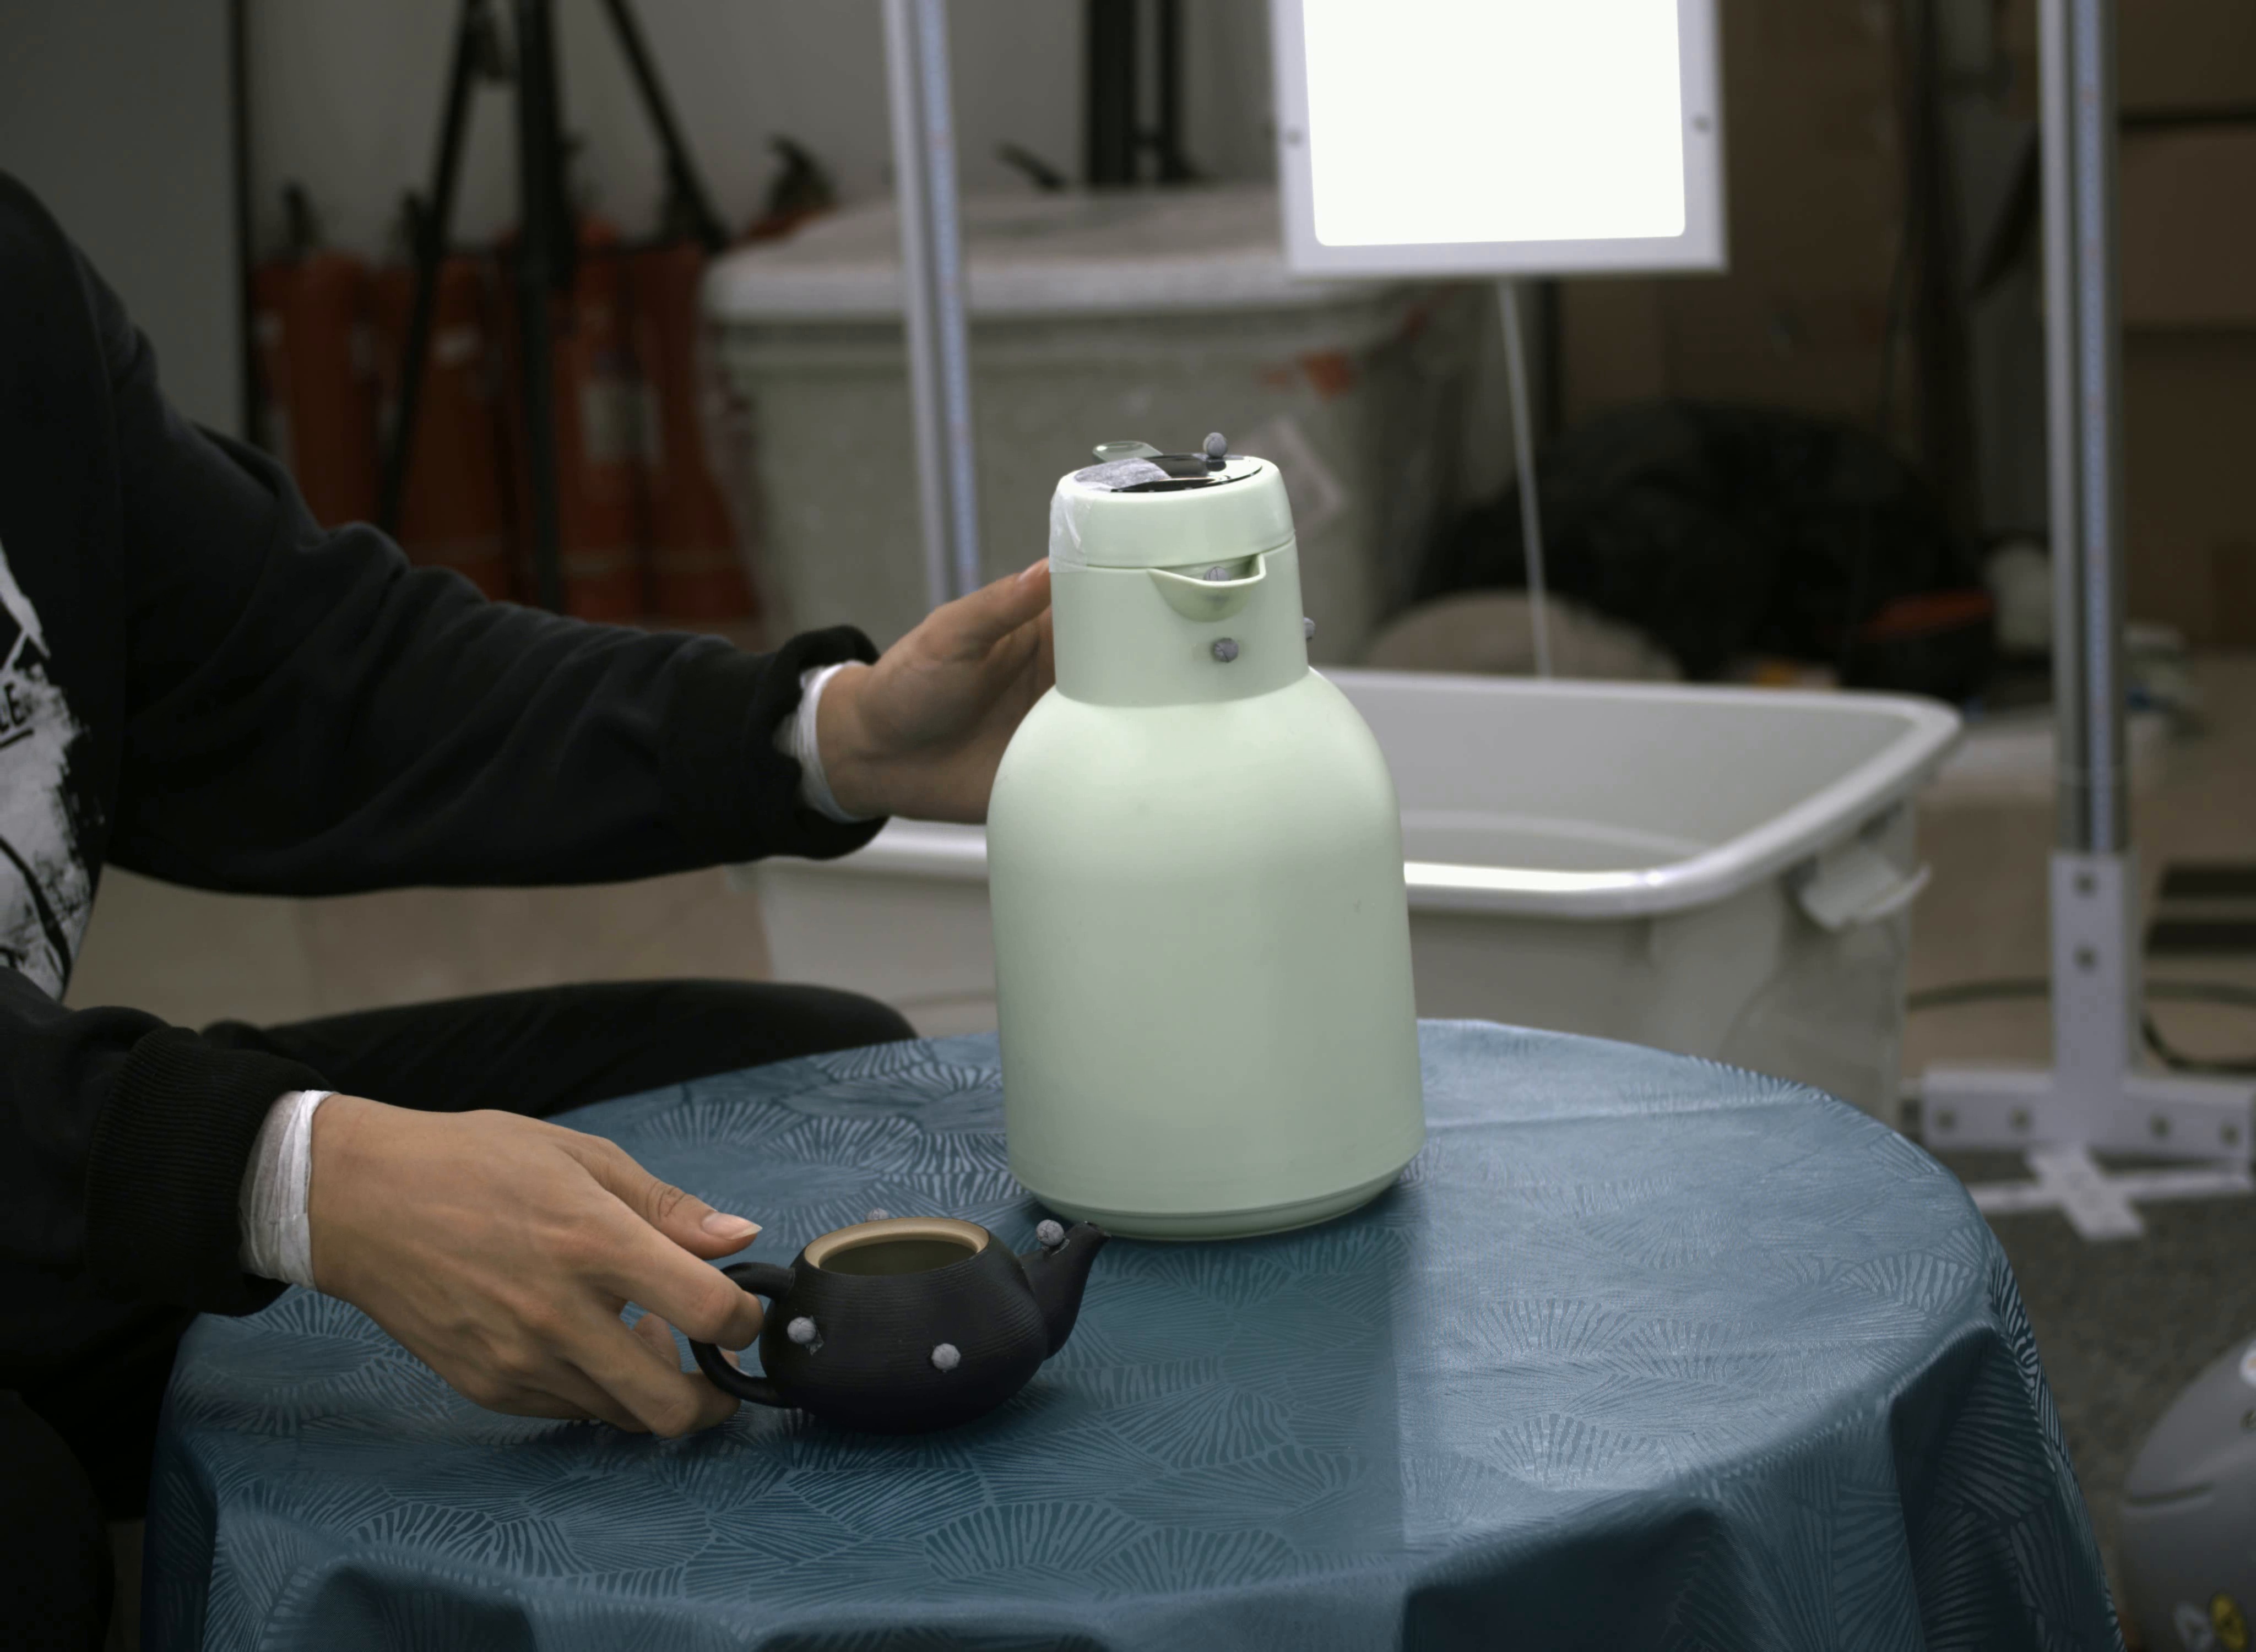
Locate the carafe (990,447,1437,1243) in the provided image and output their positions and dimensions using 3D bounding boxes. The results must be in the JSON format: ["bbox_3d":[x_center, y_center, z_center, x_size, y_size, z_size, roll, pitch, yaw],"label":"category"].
[{"bbox_3d":[0.019,0.001,1.879,0.142,0.257,0.189,-10,12,-14],"label":"carafe"}]

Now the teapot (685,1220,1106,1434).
[{"bbox_3d":[-0.070,0.154,1.699,0.132,0.053,0.091,-6,12,-9],"label":"teapot"}]
